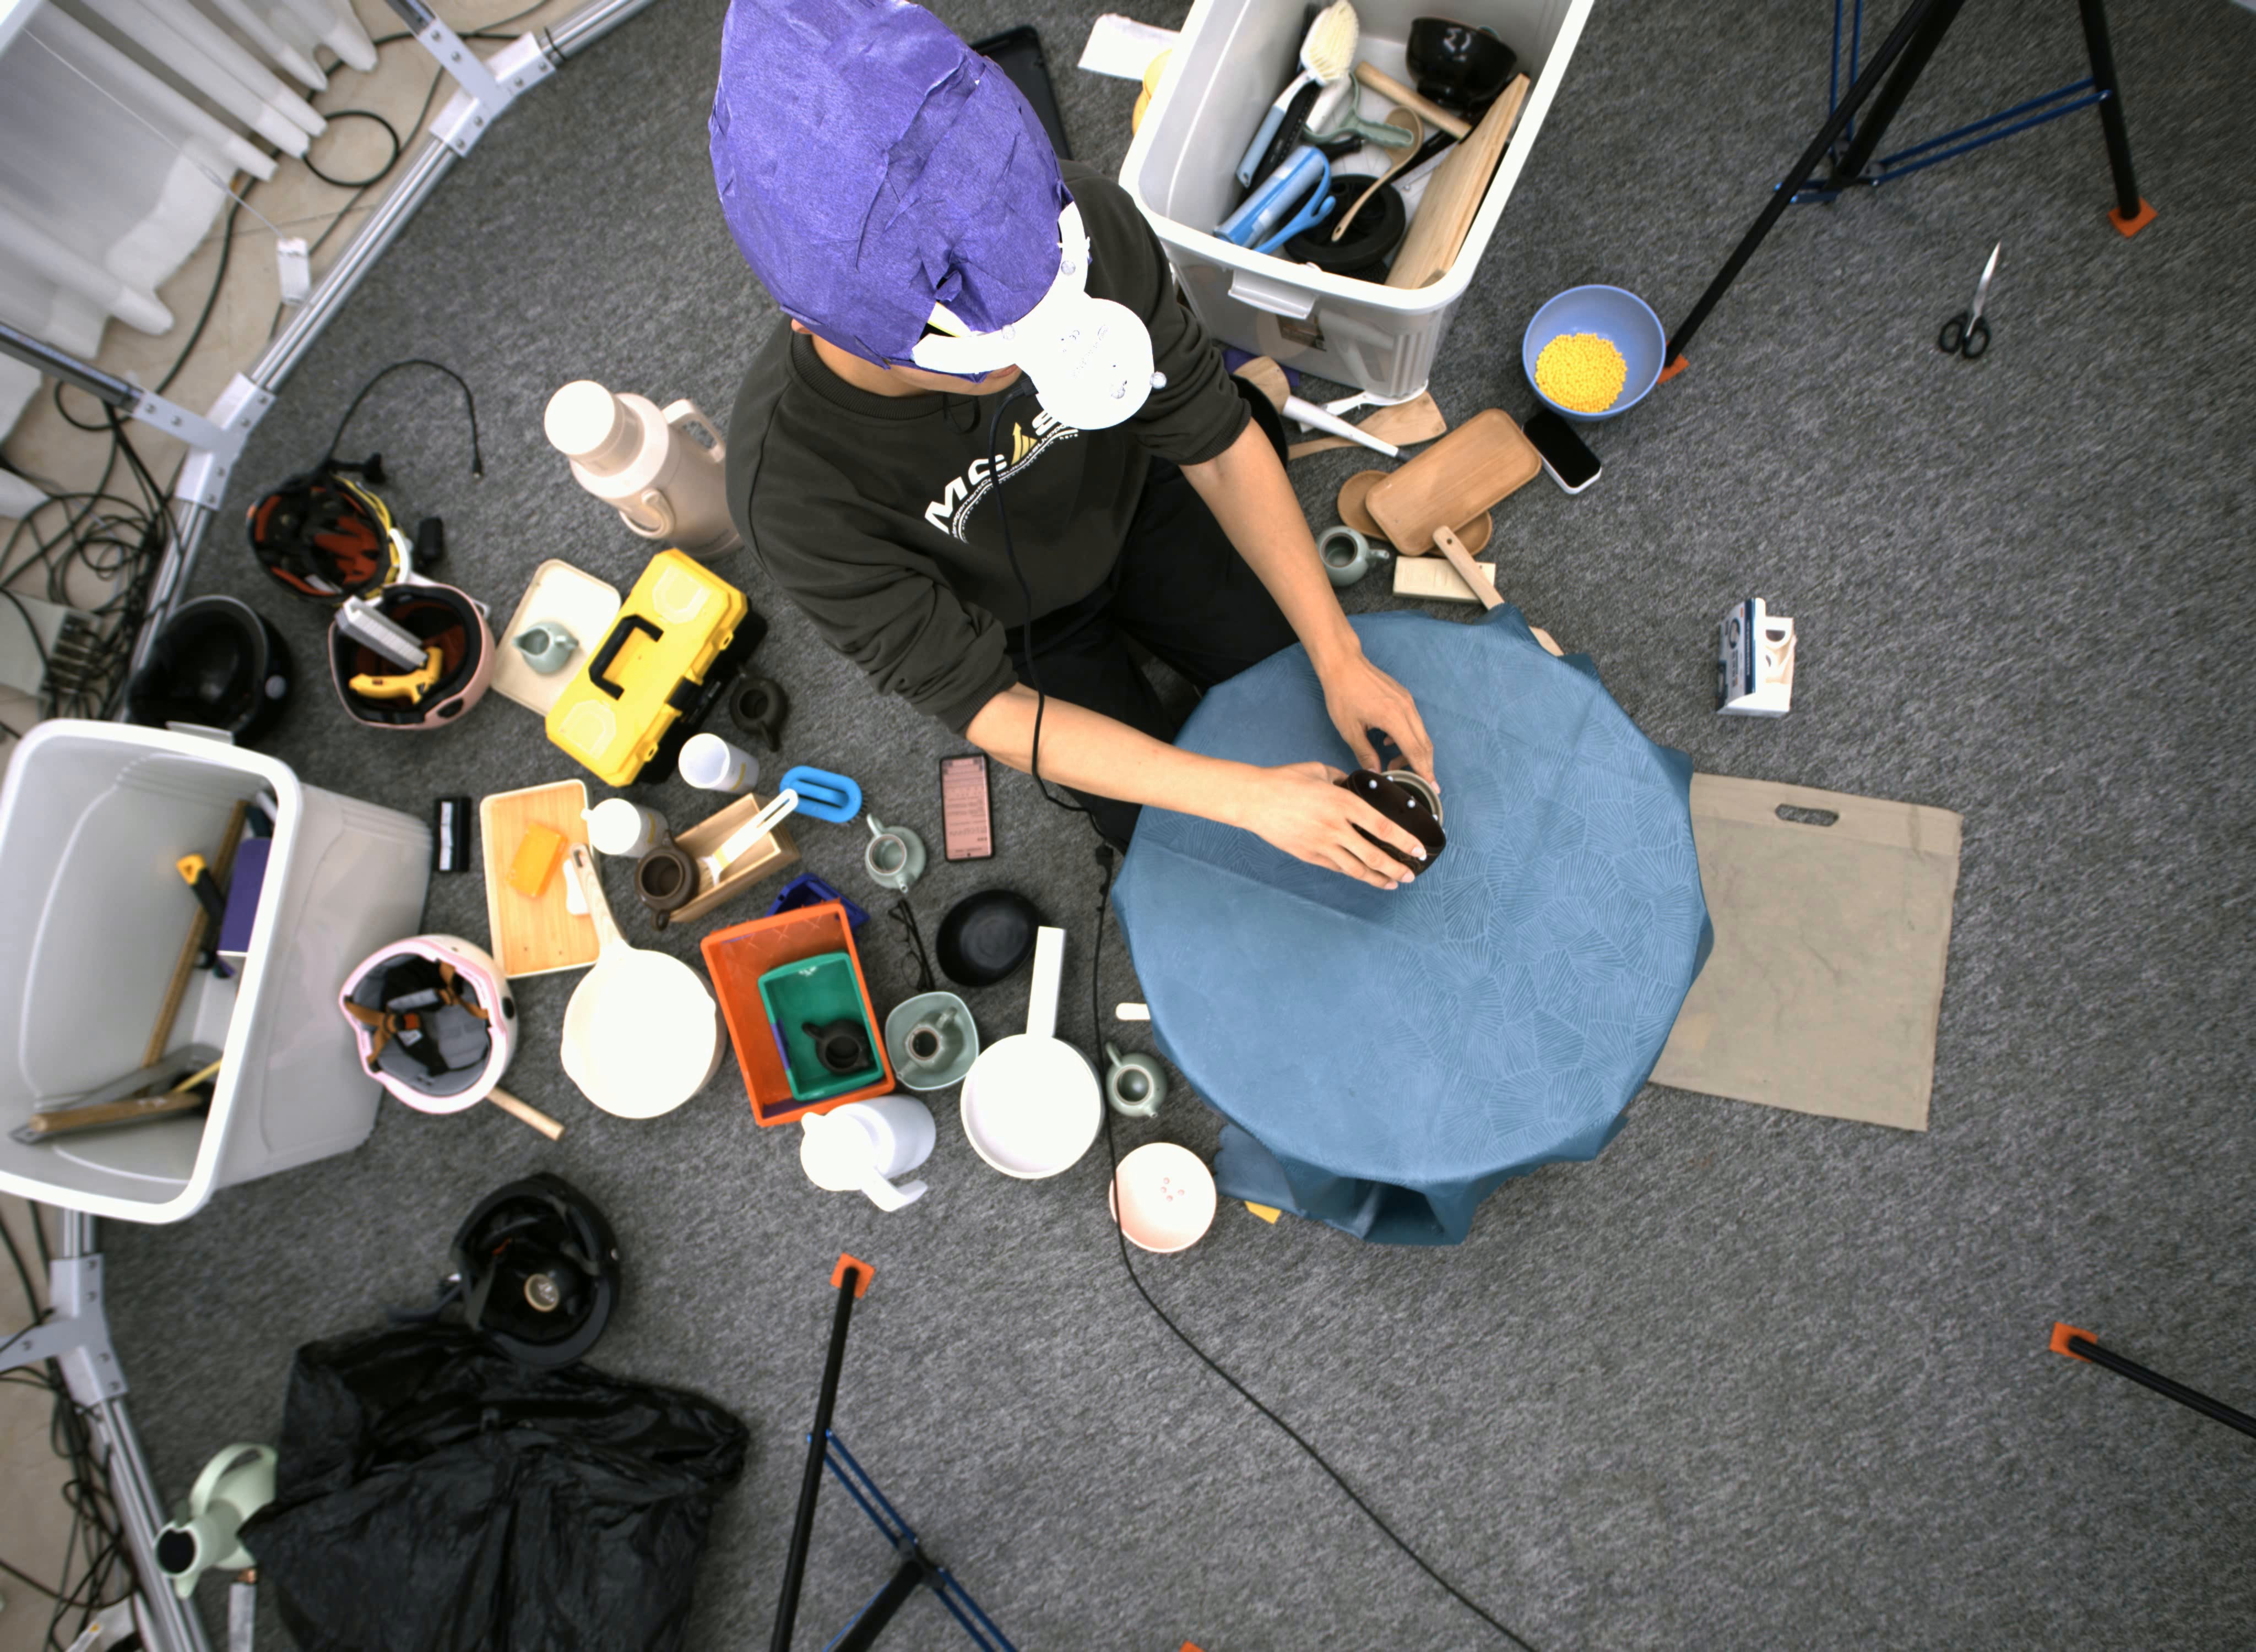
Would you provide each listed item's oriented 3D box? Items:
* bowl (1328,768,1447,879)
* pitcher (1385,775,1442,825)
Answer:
[{"bbox_3d":[0.246,0.005,1.352,0.117,0.116,0.071,39,118,11],"label":"bowl"},{"bbox_3d":[0.279,-0.010,1.424,0.097,0.070,0.083,-35,87,16],"label":"pitcher"}]
